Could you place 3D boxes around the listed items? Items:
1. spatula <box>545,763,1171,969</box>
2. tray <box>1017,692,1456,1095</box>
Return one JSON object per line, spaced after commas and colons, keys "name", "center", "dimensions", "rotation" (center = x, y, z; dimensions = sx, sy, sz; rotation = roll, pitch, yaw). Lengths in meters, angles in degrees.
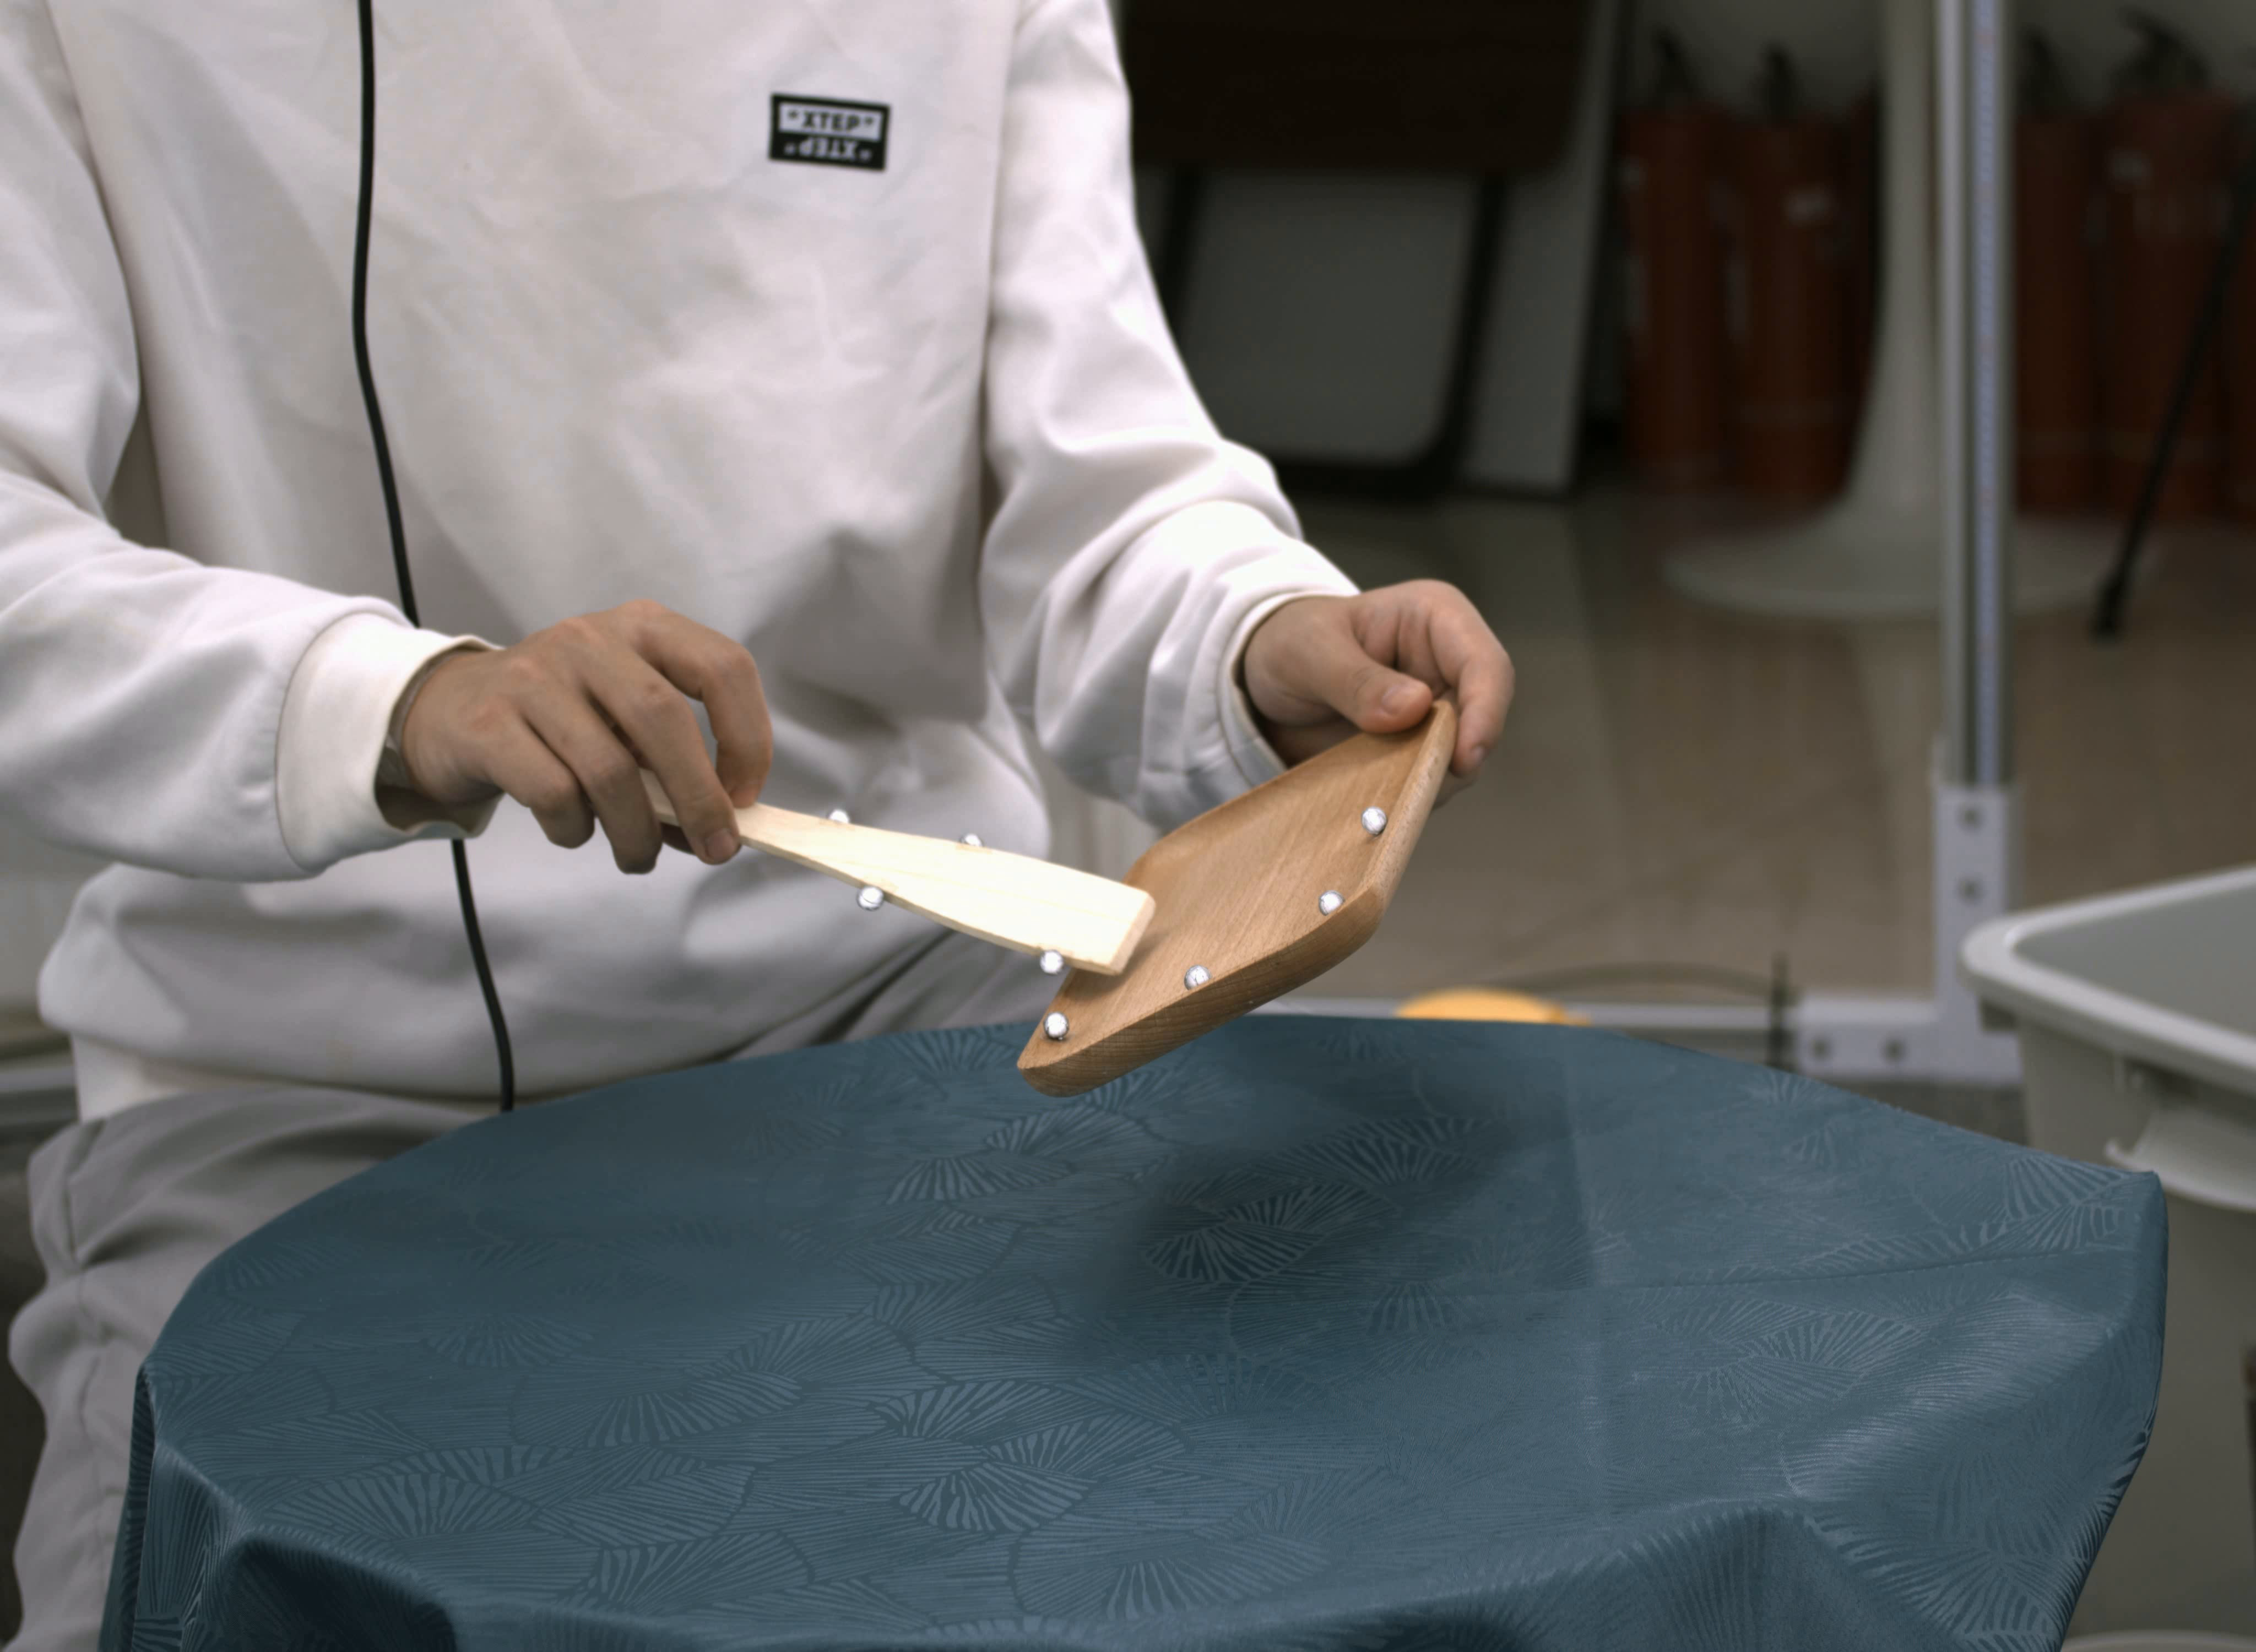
{"name": "spatula", "center": [-0.089, 0.009, 1.732], "dimensions": [0.206, 0.005, 0.050], "rotation": [15, 29, 10]}
{"name": "tray", "center": [0.039, 0.020, 1.719], "dimensions": [0.130, 0.023, 0.249], "rotation": [-26, 10, 17]}
